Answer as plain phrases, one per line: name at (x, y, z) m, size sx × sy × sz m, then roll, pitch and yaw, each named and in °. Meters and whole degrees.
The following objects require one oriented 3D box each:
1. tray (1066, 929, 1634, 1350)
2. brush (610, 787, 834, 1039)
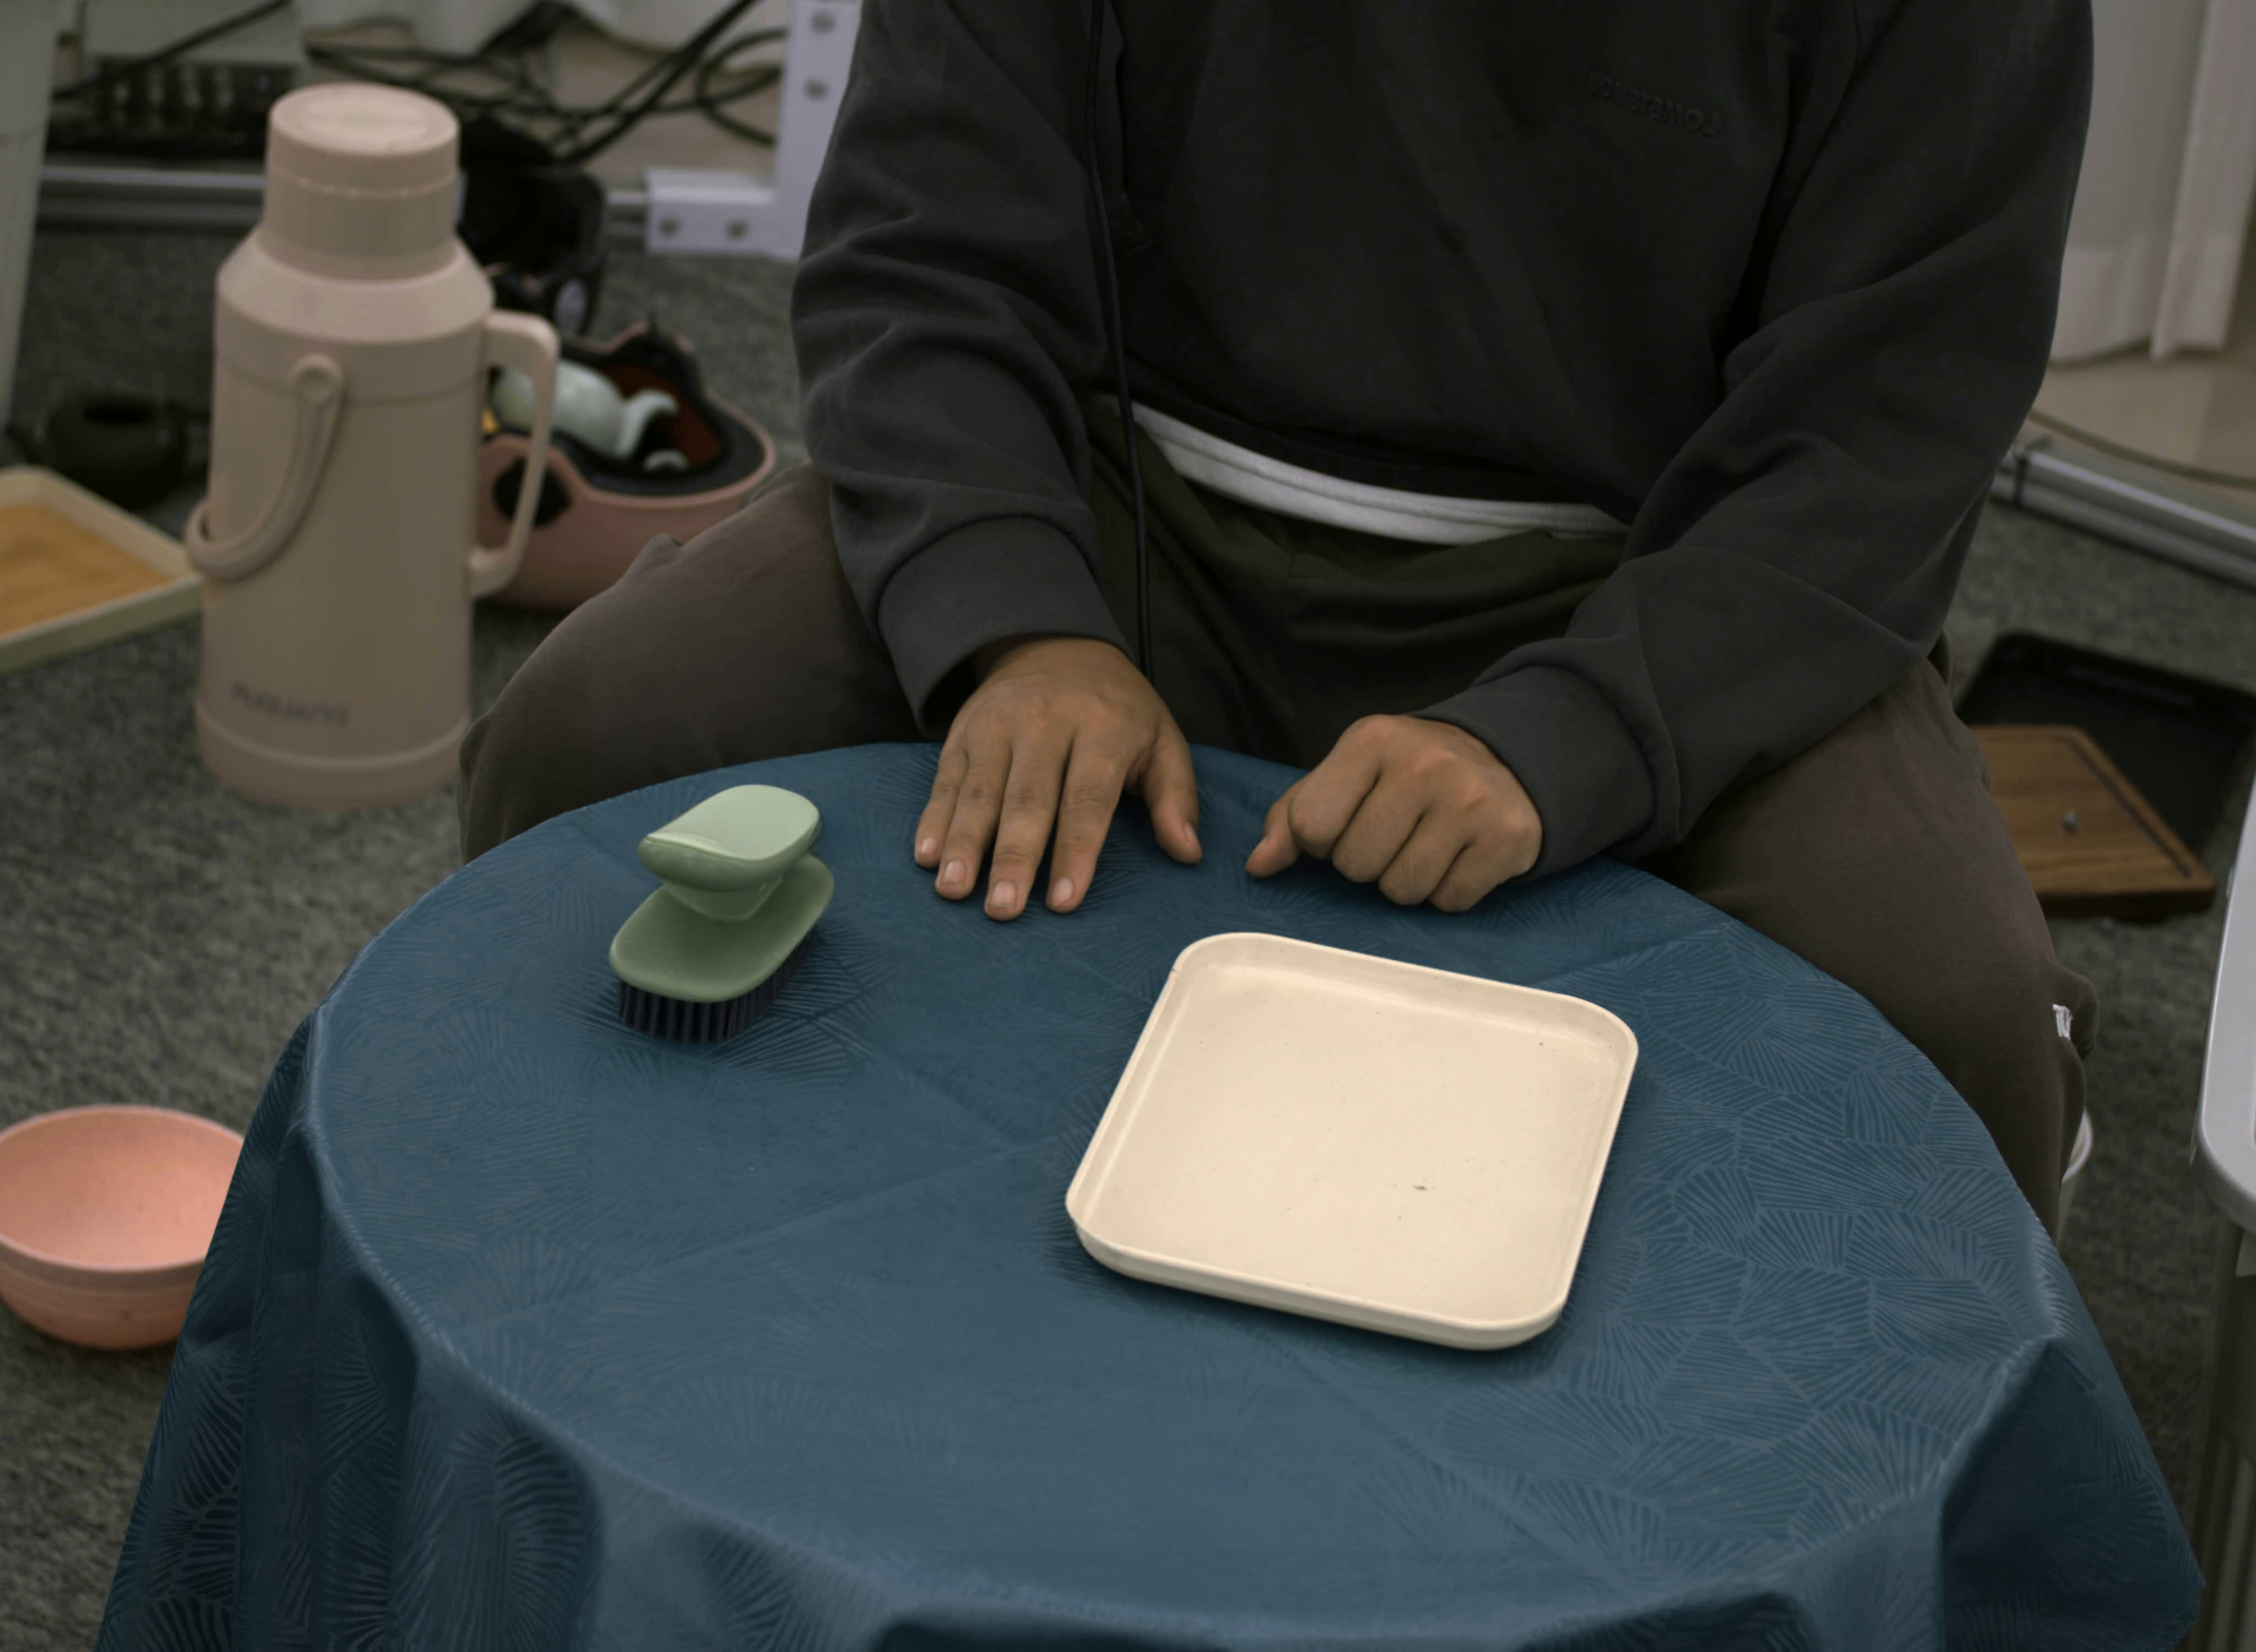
tray at (0.079, 0.107, 1.838) m, size 0.171 × 0.017 × 0.240 m, roll 12°, pitch 27°, yaw 9°
brush at (-0.144, 0.029, 1.900) m, size 0.059 × 0.076 × 0.123 m, roll 14°, pitch 14°, yaw 12°
